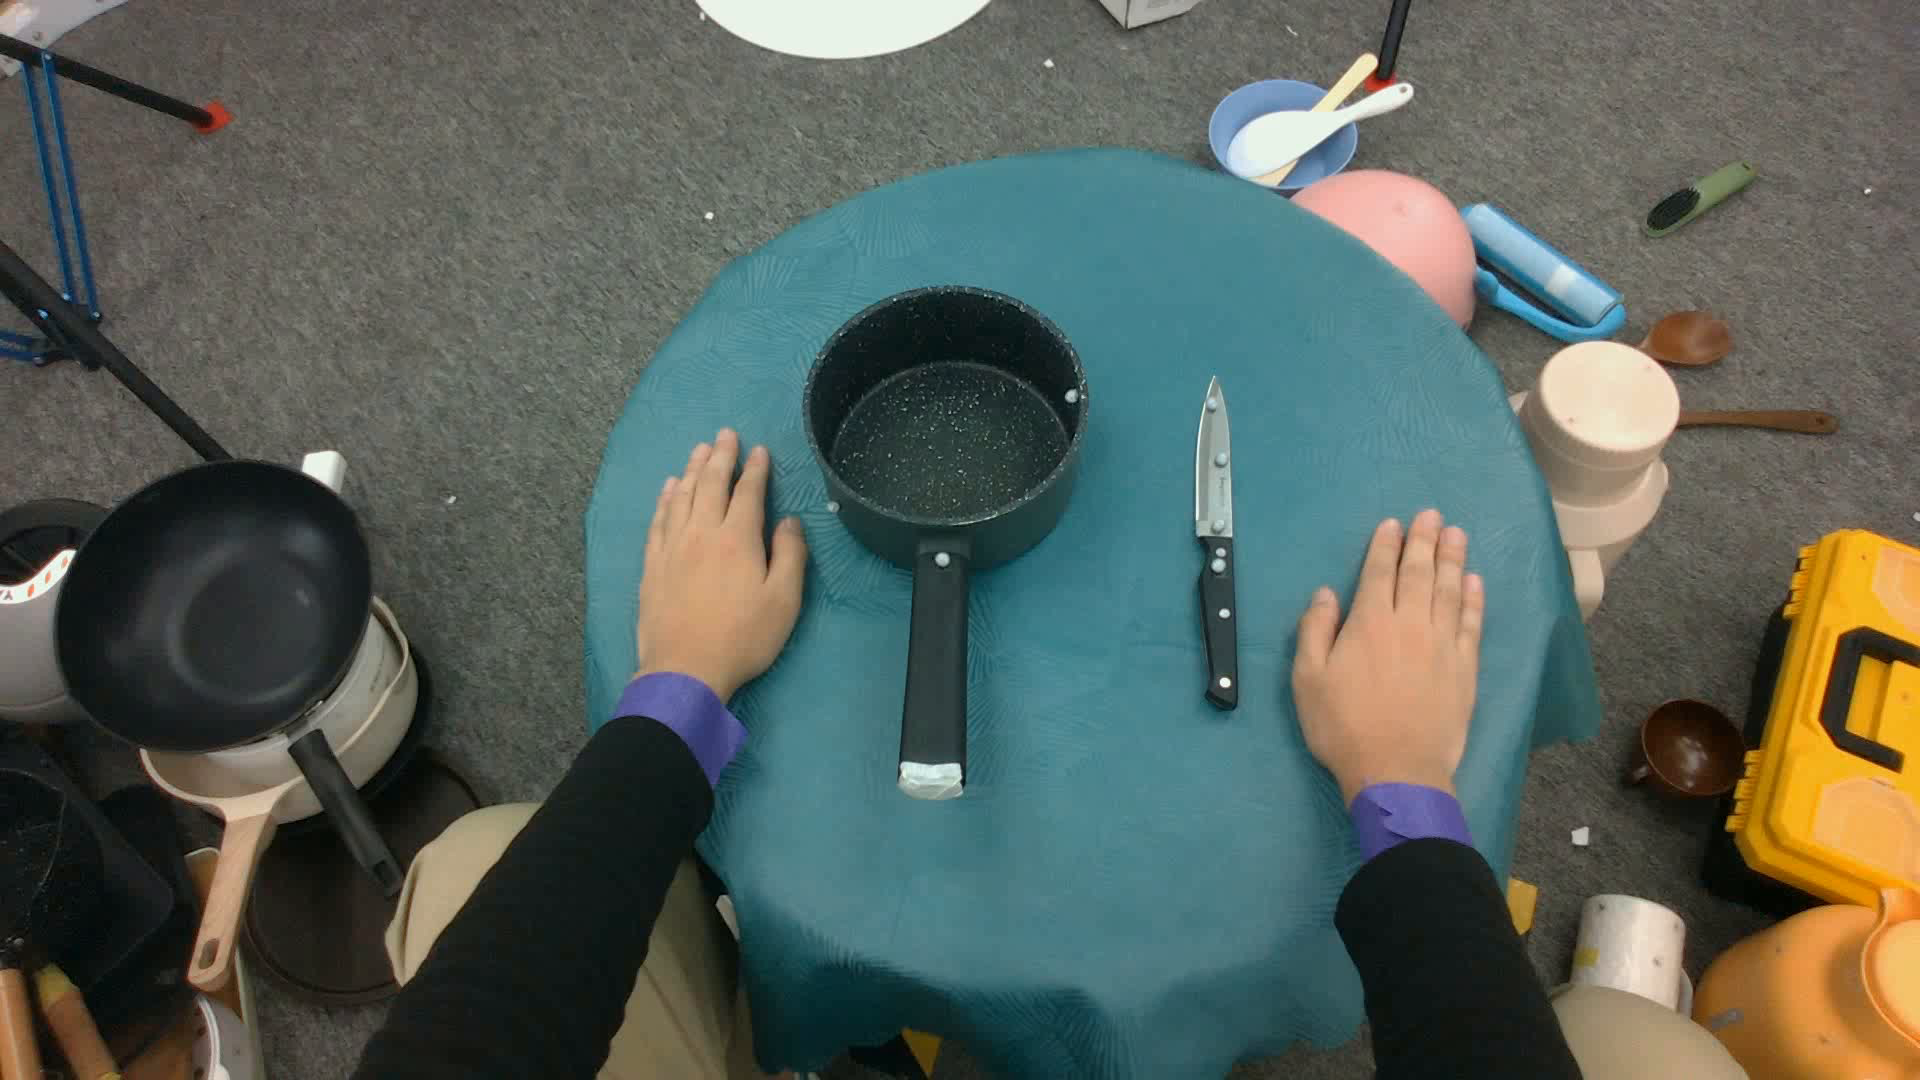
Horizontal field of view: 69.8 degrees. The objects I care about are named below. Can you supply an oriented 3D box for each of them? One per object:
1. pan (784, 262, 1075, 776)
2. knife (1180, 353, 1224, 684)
[{"bbox_3d":[-0.021,-0.011,0.806,0.172,0.086,0.330,2,61,4],"label":"pan"},{"bbox_3d":[0.149,-0.021,0.846,0.024,0.016,0.239,0,59,6],"label":"knife"}]
